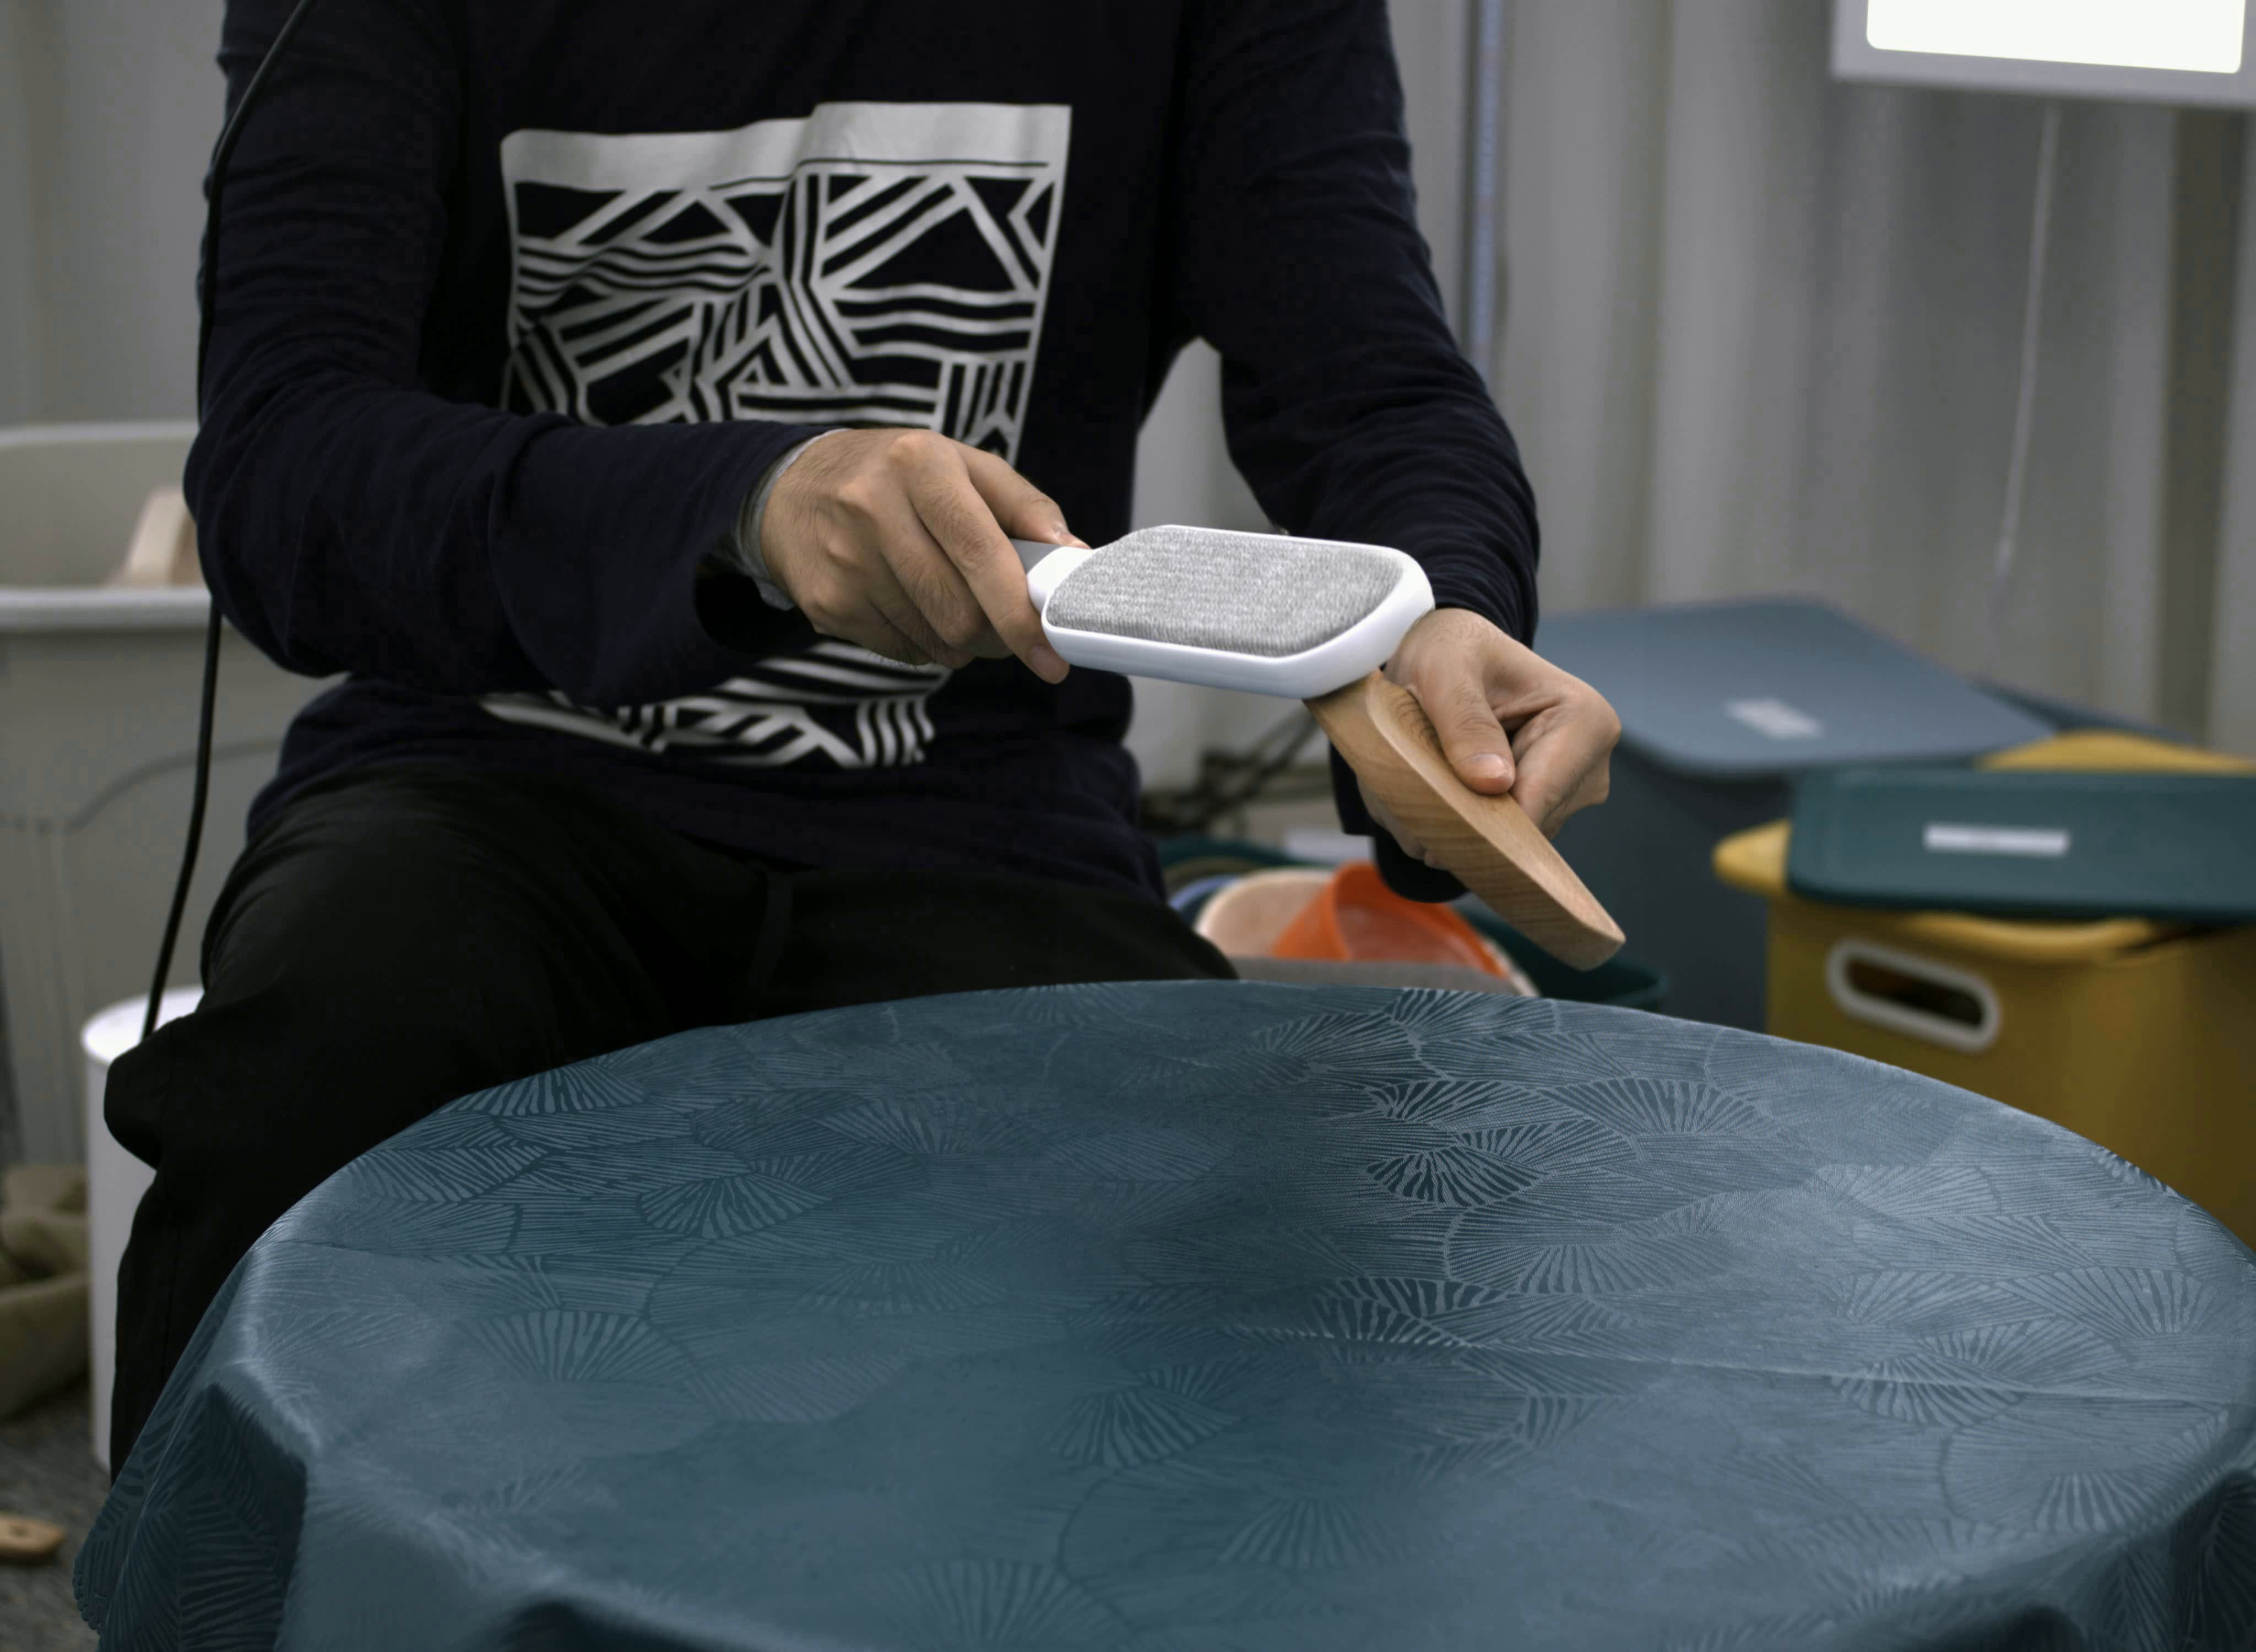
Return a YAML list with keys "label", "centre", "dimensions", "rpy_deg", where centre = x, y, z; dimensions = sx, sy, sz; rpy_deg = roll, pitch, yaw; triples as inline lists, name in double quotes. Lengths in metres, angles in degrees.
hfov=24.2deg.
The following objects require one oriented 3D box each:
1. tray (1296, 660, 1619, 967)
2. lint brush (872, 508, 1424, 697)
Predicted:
- label: "tray"
  centre: [0.085, -0.018, 1.568]
  dimensions: [0.102, 0.020, 0.229]
  rpy_deg: [42, 5, -23]
- label: "lint brush"
  centre: [-0.002, -0.075, 1.633]
  dimensions: [0.060, 0.021, 0.305]
  rpy_deg: [-46, 26, -17]
